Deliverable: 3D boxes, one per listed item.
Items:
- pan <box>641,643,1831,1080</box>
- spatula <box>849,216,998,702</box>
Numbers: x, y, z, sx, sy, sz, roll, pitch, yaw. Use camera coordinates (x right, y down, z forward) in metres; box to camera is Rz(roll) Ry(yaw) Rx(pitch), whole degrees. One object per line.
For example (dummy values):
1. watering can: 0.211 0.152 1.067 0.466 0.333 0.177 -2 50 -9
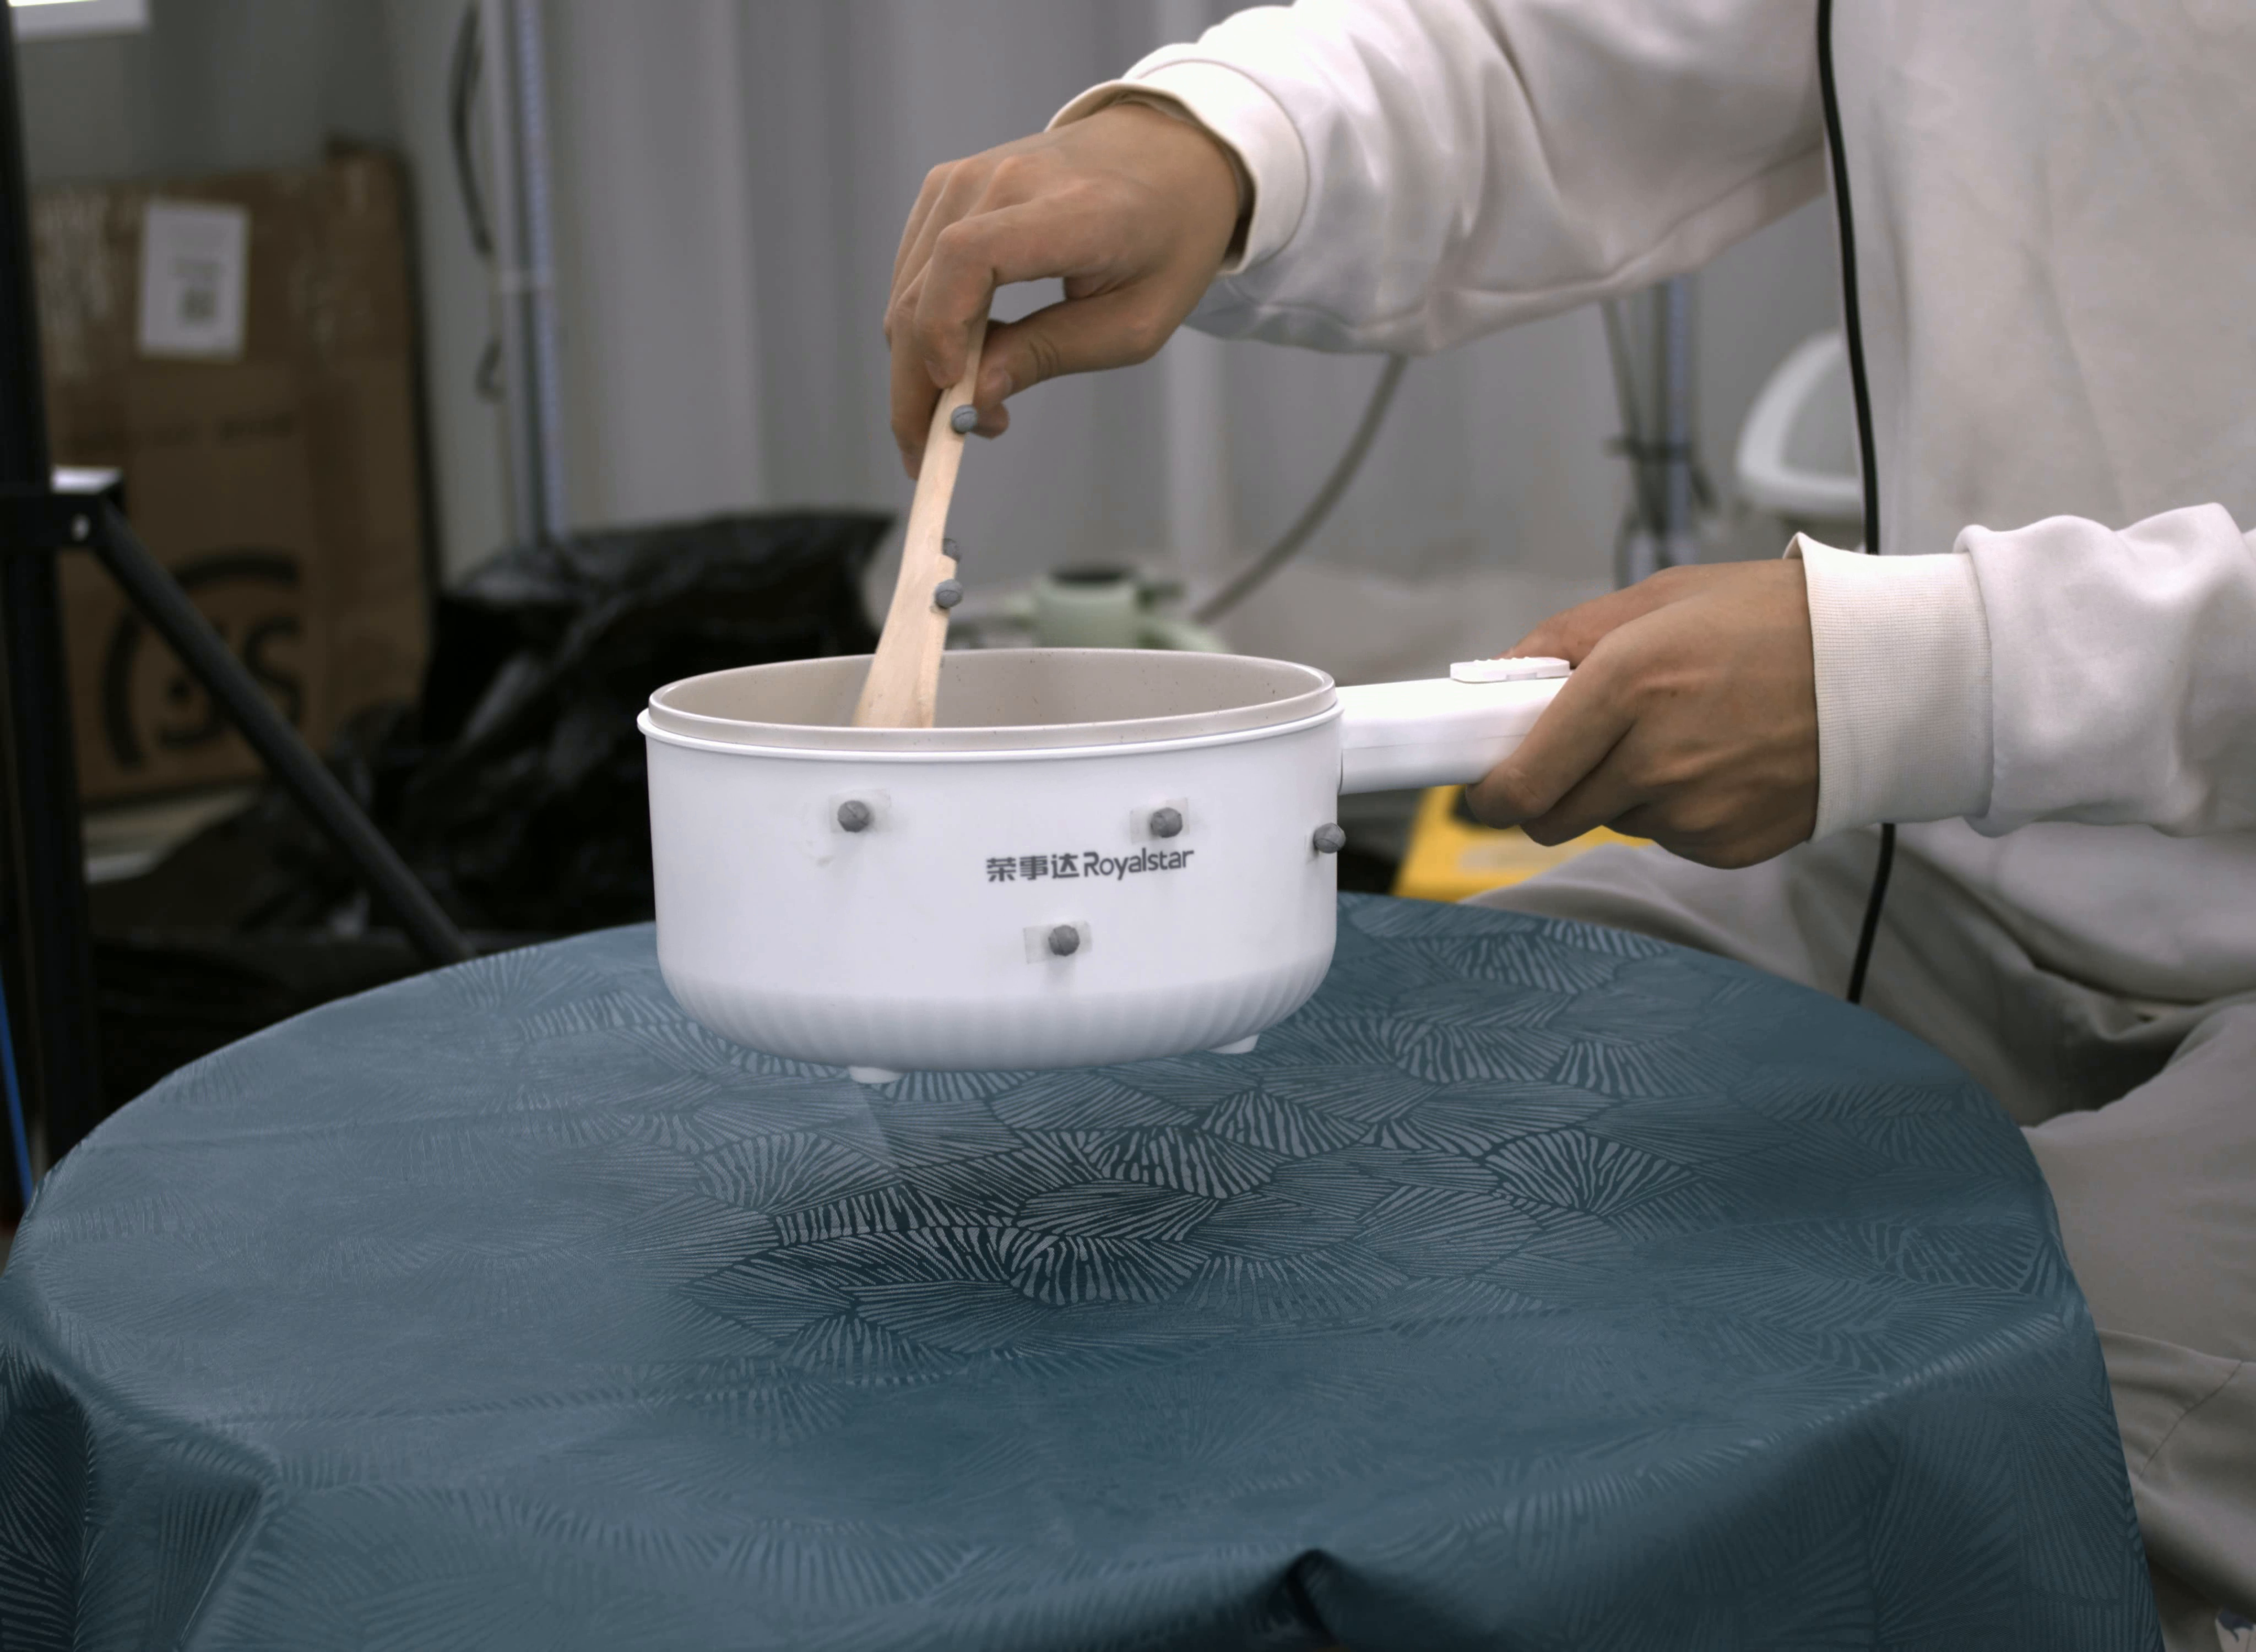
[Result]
1. pan: 0.035 0.005 1.538 0.348 0.102 0.204 -4 8 -17
2. spatula: -0.061 -0.098 1.616 0.010 0.072 0.295 20 39 -10
